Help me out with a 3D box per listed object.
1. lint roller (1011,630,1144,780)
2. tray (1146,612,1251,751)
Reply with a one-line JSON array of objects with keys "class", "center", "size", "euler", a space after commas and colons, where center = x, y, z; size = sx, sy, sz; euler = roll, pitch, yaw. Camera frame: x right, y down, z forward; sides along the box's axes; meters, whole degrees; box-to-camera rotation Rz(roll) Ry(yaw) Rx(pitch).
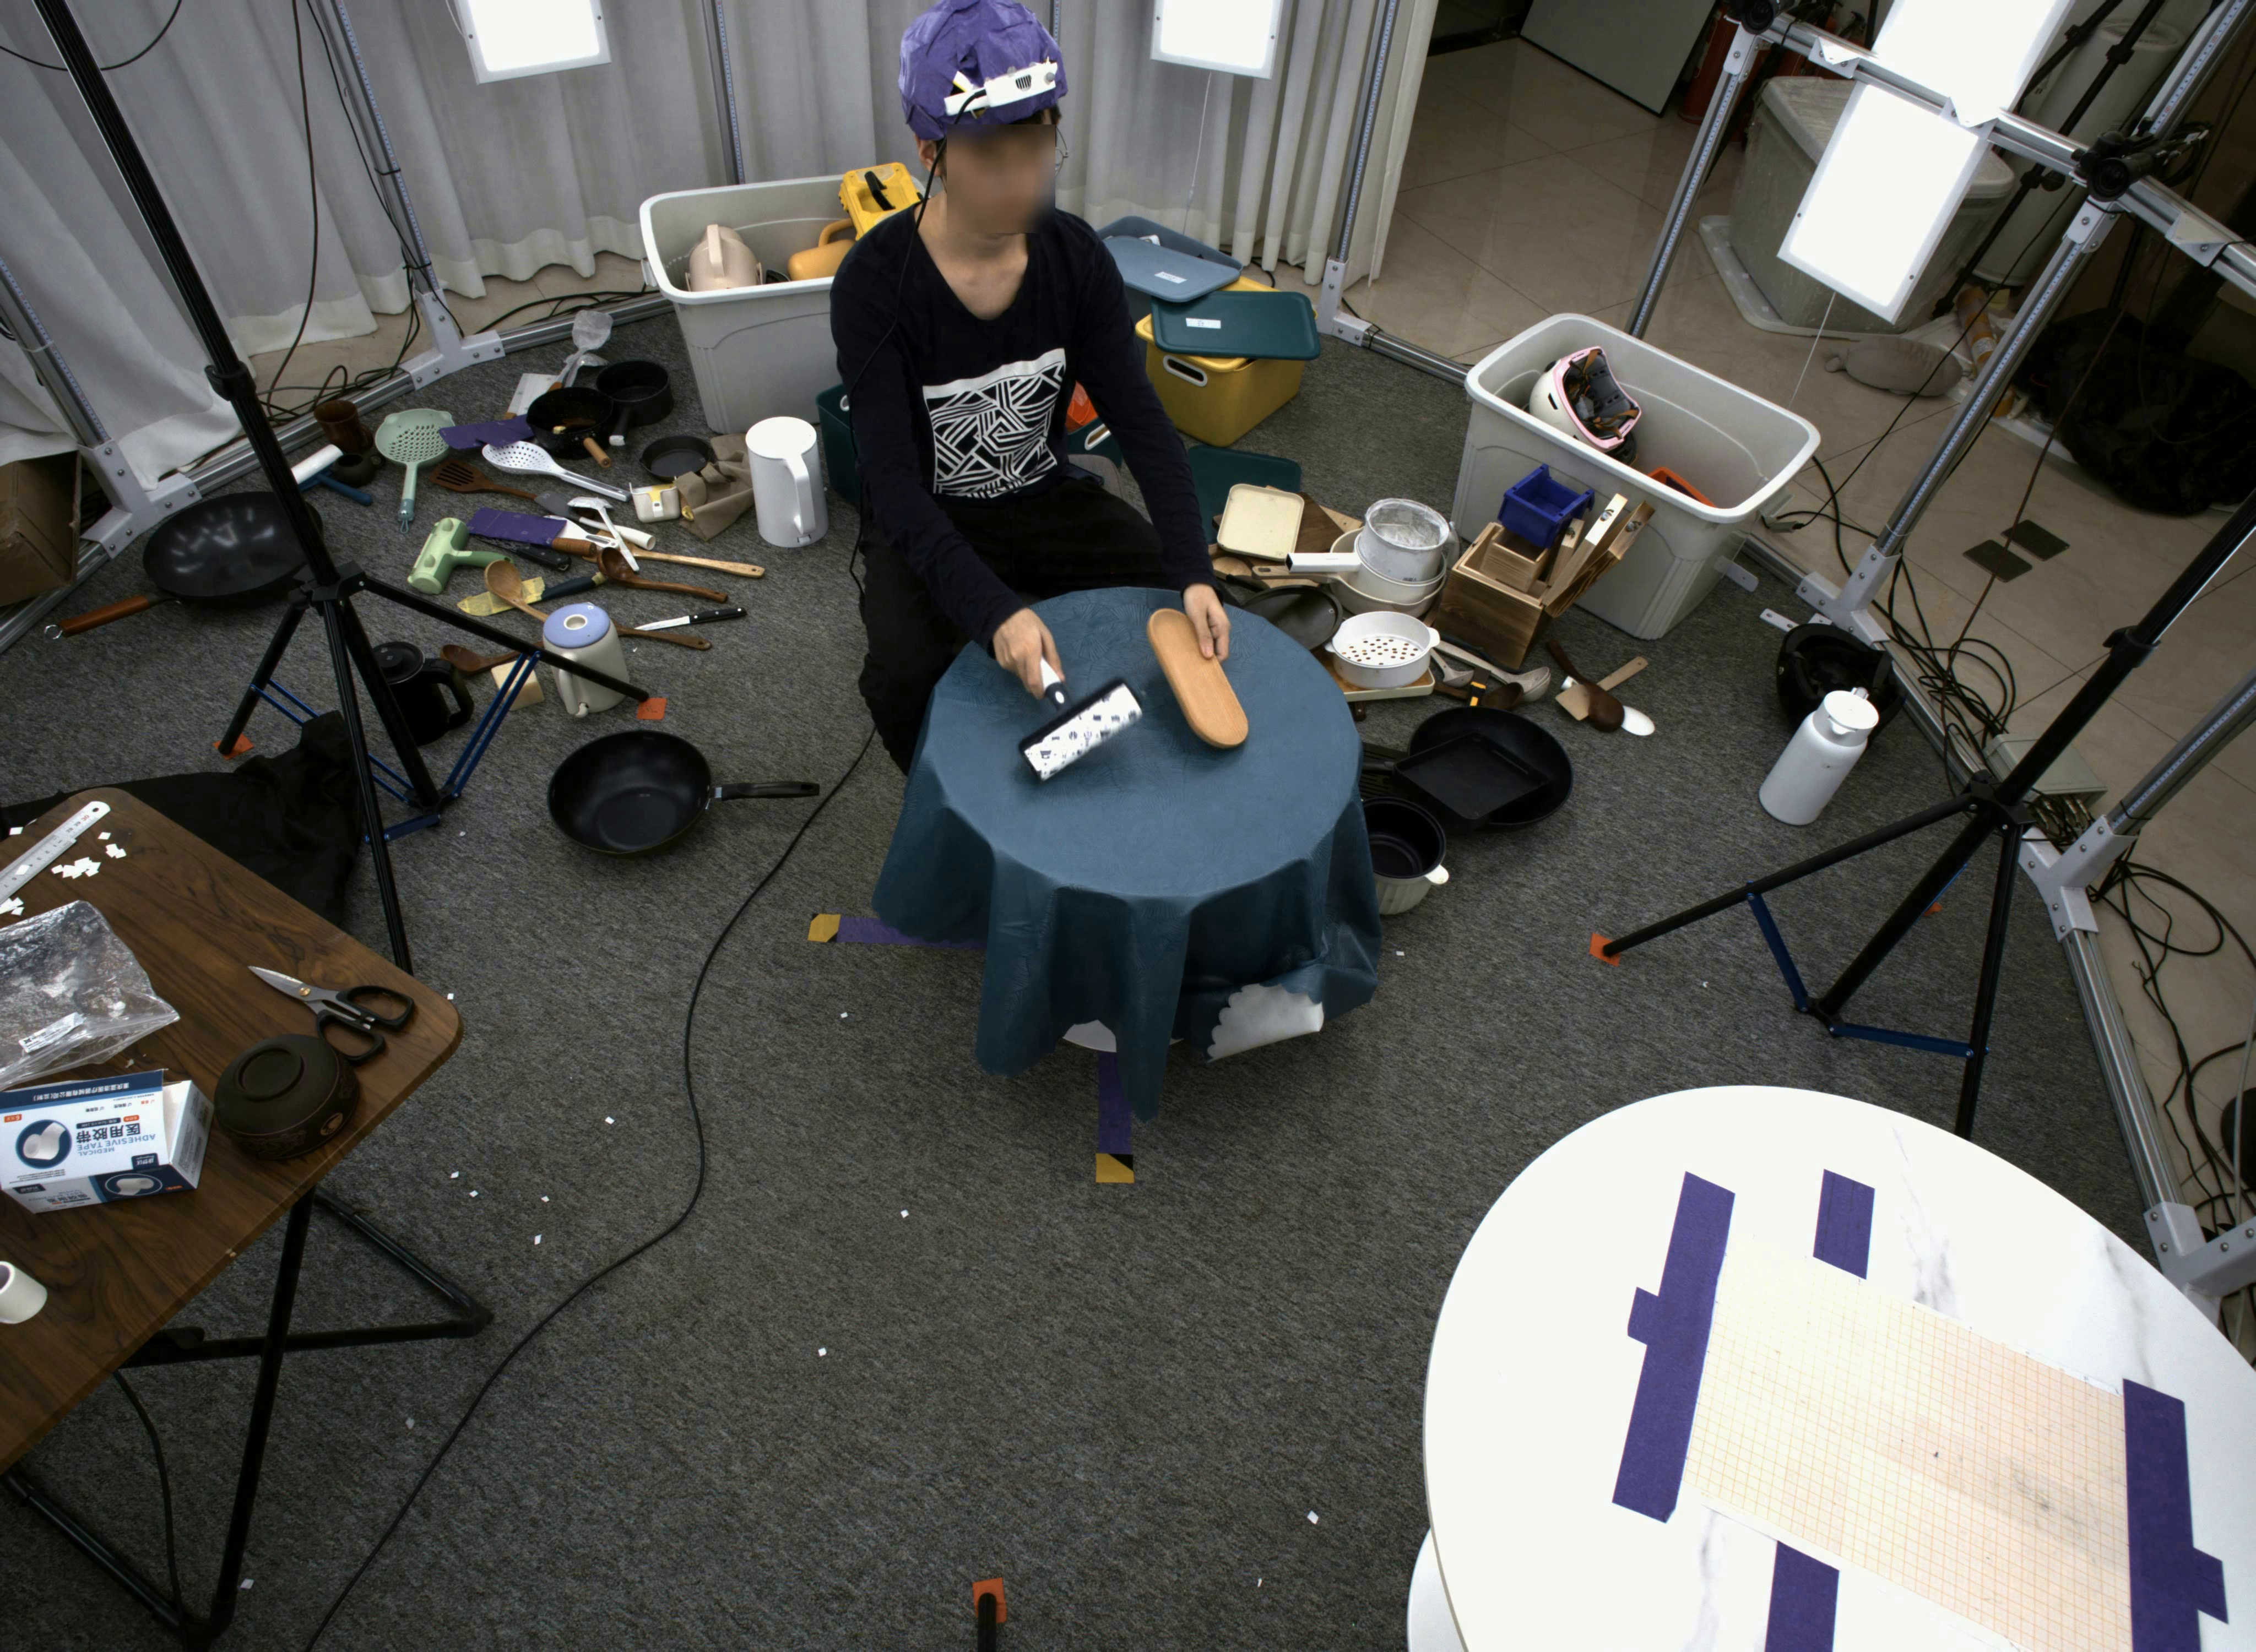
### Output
[{"class": "lint roller", "center": [-0.108, -0.191, 1.759], "size": [0.176, 0.049, 0.252], "euler": [-32, 56, -3]}, {"class": "tray", "center": [0.097, -0.203, 1.791], "size": [0.101, 0.020, 0.235], "euler": [-9, 65, -36]}]
